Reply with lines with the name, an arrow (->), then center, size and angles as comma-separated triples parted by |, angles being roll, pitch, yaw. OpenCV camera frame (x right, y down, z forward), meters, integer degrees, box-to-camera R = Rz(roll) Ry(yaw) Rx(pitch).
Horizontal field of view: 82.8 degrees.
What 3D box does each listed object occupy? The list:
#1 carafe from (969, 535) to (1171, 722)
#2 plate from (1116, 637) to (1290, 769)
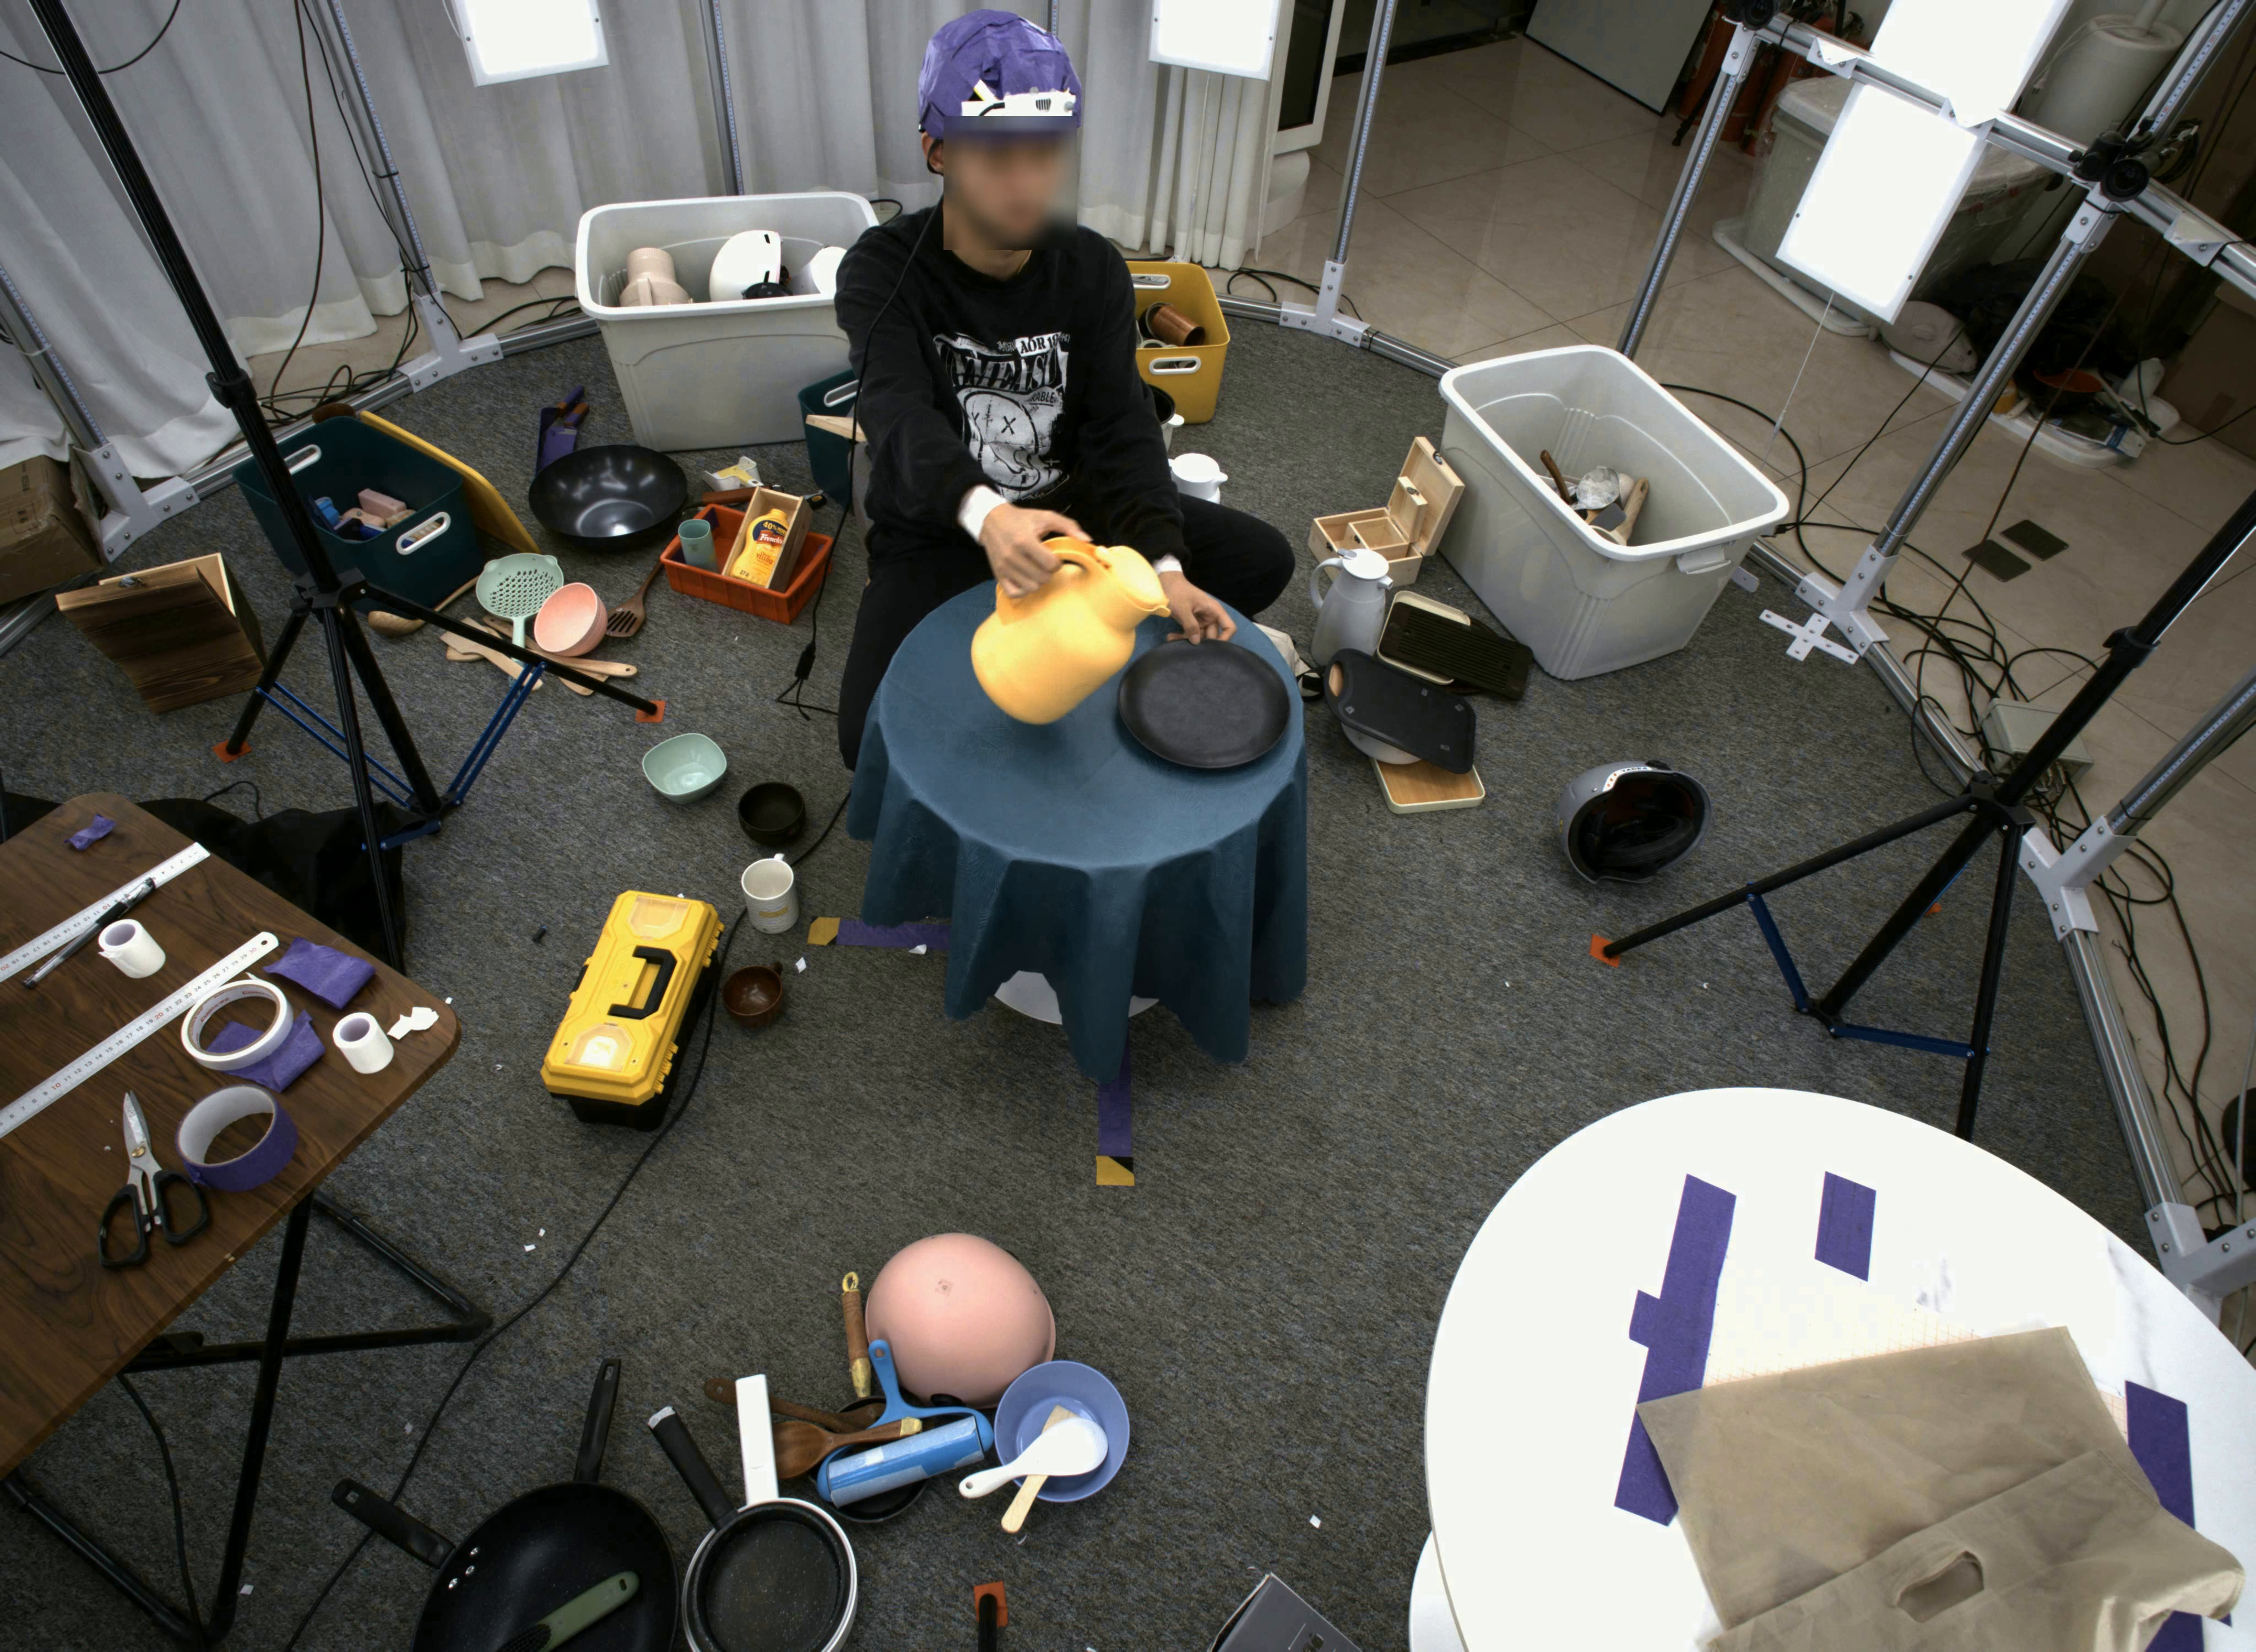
carafe -> -0.087, -0.265, 1.650 | 0.199, 0.258, 0.167 | 32, 39, -34
plate -> 0.105, -0.170, 1.801 | 0.244, 0.023, 0.250 | 1, 53, -2
